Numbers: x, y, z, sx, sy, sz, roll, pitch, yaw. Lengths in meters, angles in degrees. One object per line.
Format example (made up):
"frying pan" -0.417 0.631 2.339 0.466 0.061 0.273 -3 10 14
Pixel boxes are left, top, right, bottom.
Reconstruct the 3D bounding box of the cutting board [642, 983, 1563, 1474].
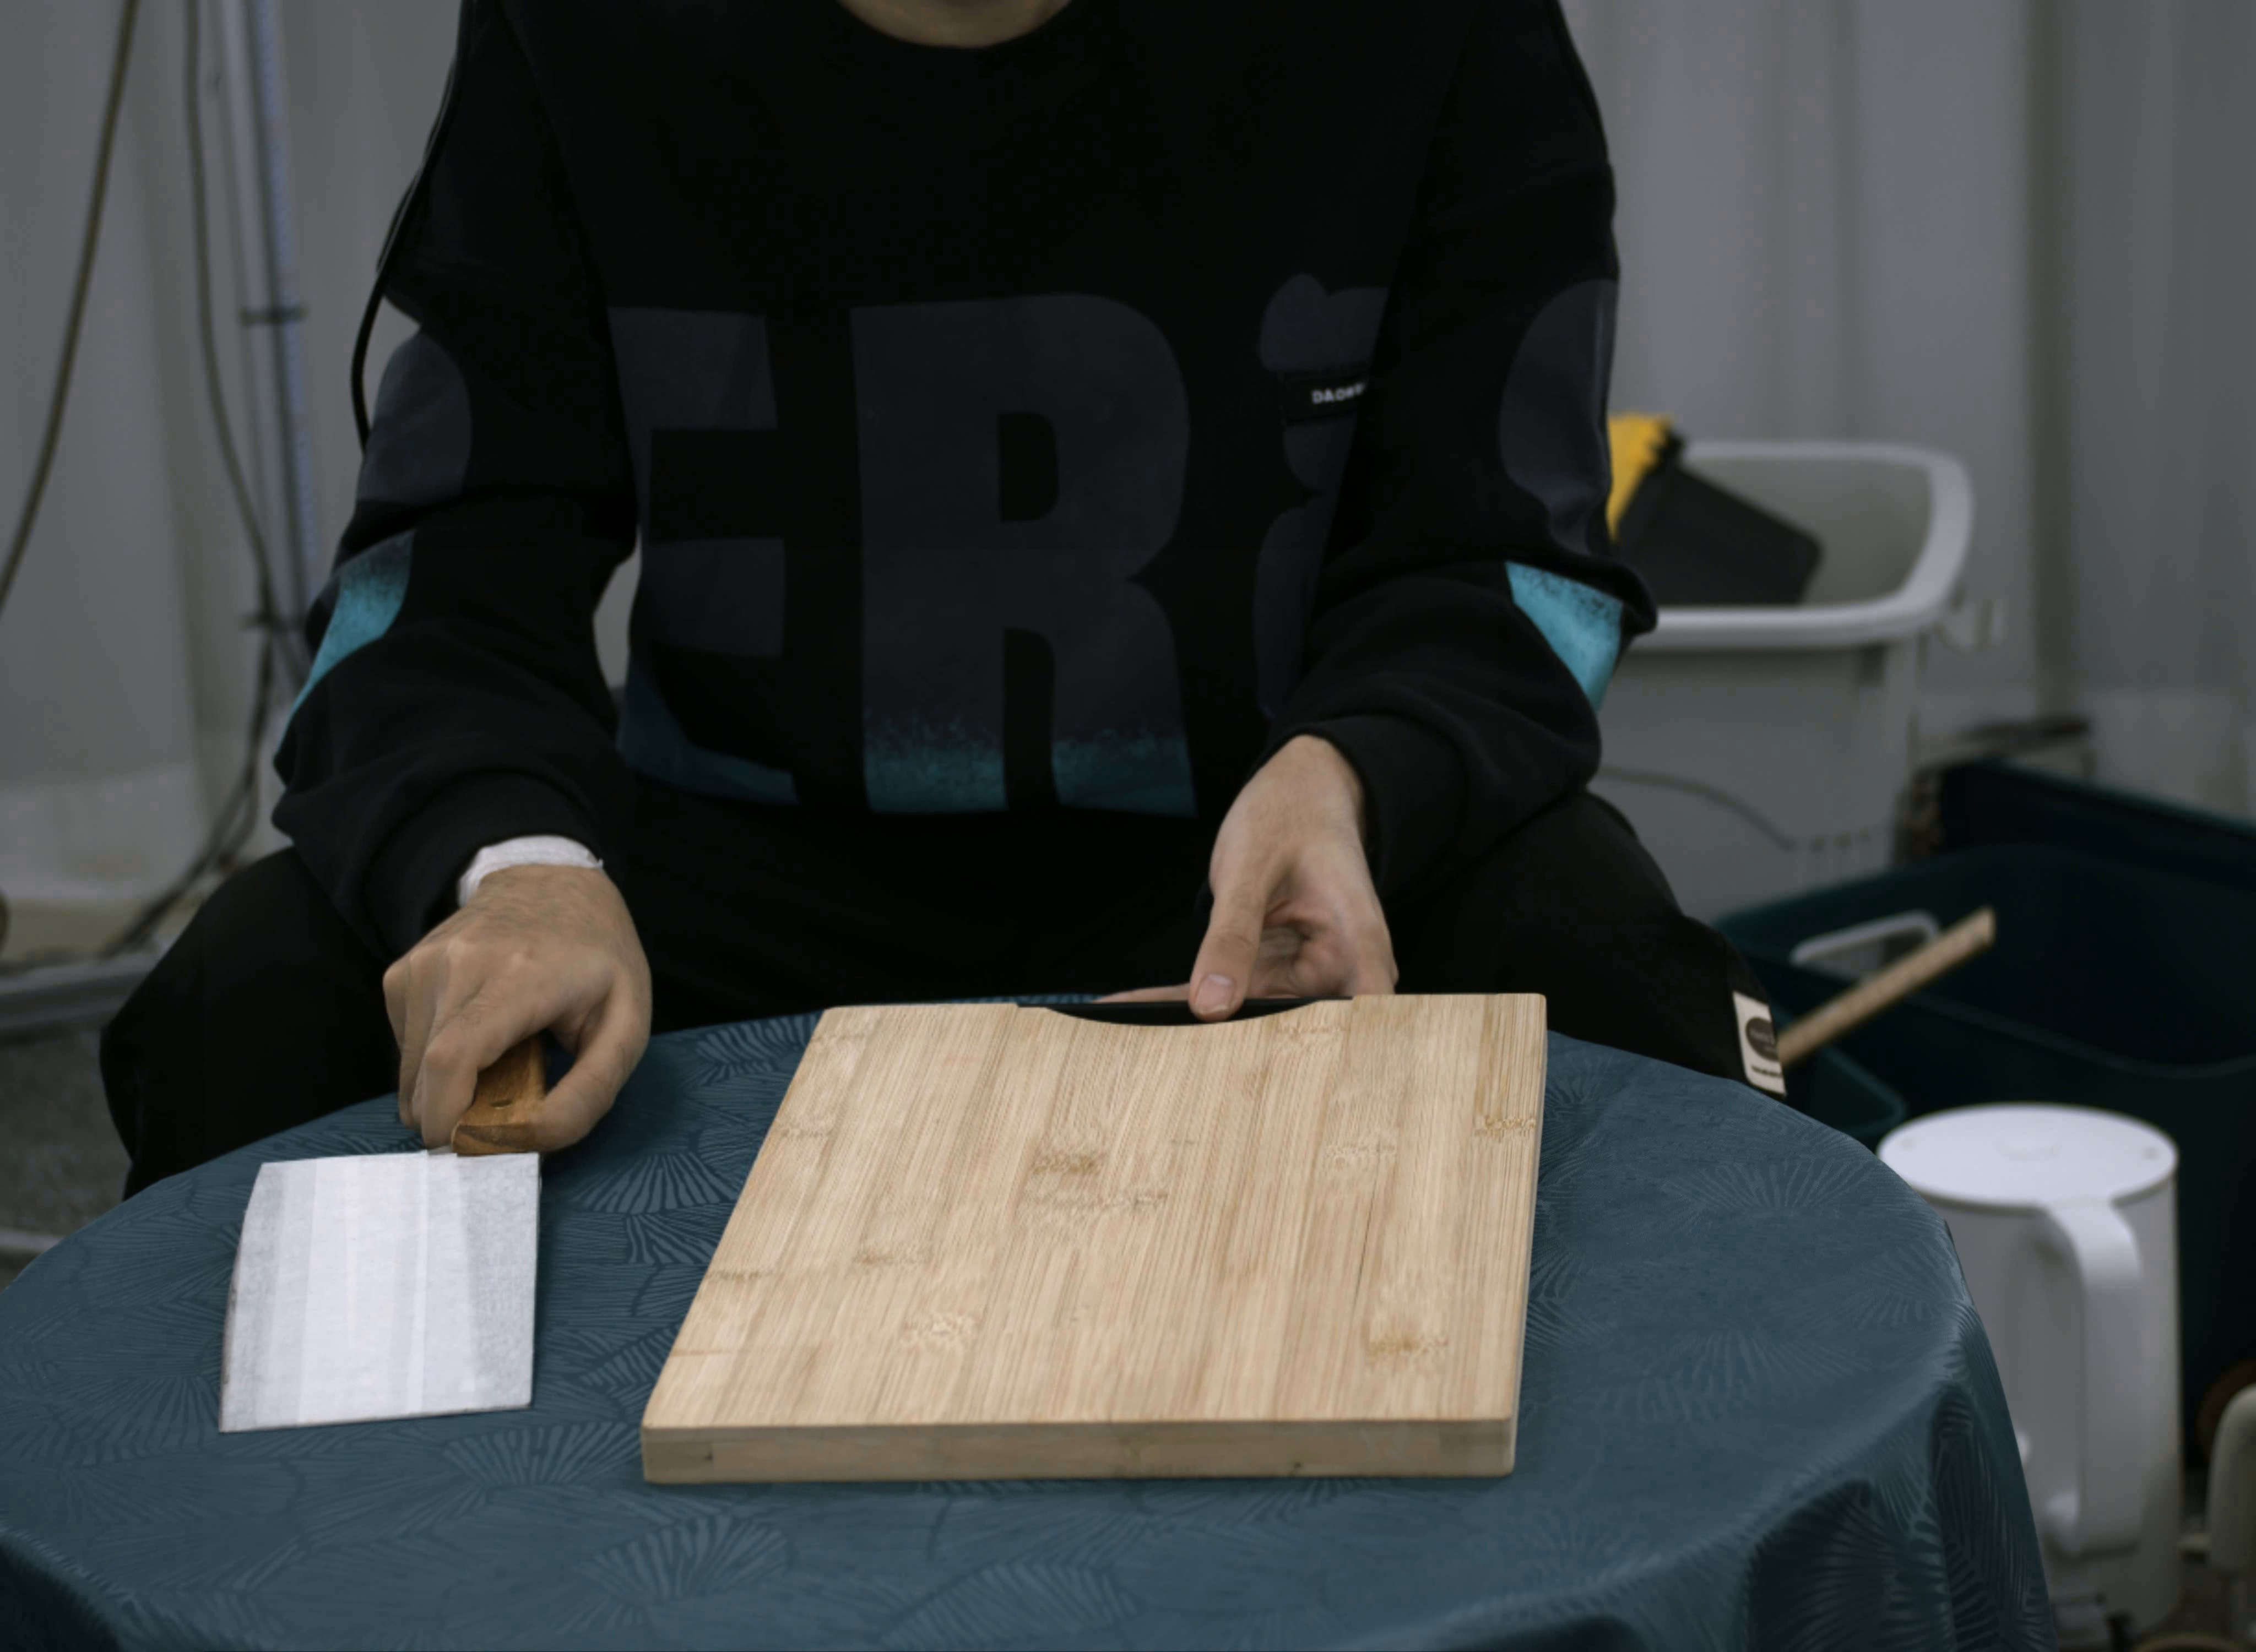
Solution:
"cutting board" 0.004 0.116 1.647 0.250 0.023 0.351 -2 18 6

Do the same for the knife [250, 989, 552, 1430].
"knife" -0.225 0.117 1.697 0.092 0.021 0.309 -5 20 -3
